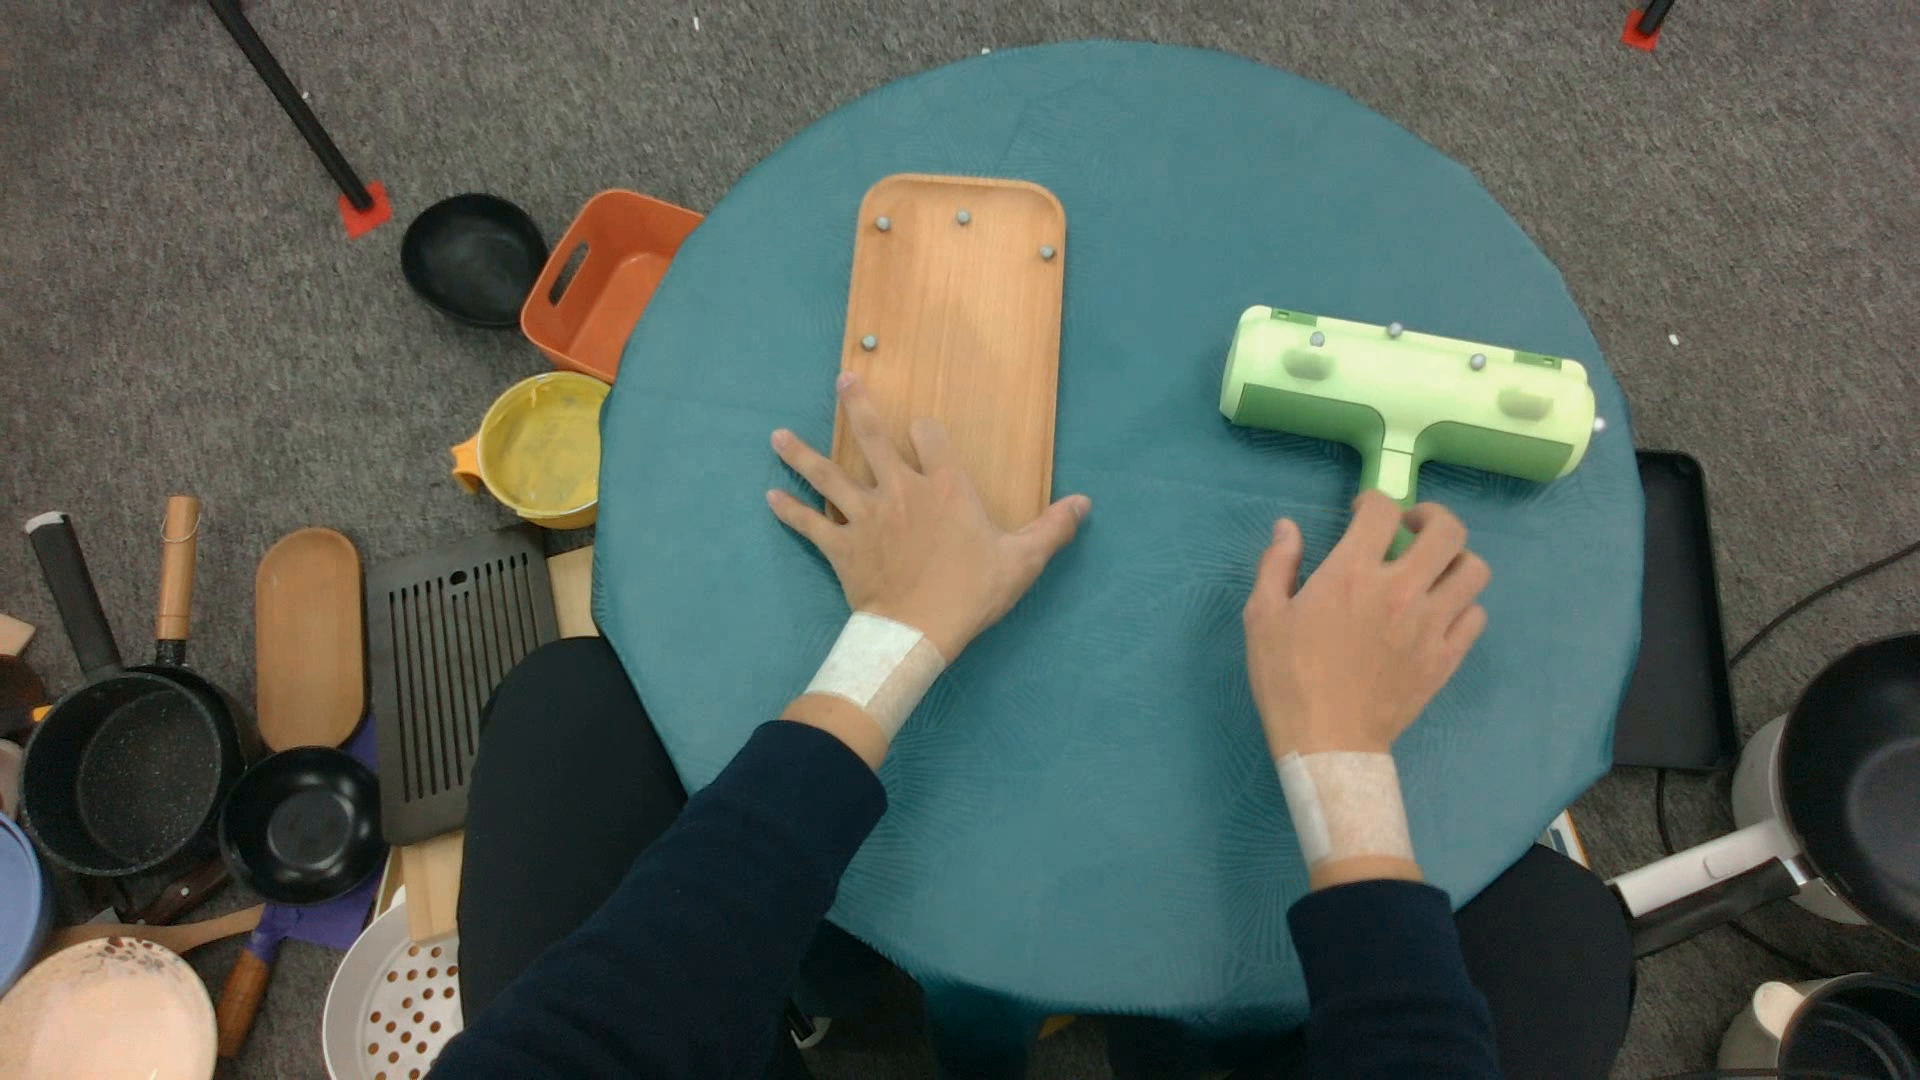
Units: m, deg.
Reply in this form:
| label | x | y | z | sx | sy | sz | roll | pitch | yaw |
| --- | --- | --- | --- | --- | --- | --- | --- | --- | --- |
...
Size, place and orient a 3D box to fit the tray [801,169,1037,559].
| label | x | y | z | sx | sy | sz | roll | pitch | yaw |
| --- | --- | --- | --- | --- | --- | --- | --- | --- | --- |
| tray | -0.020 | -0.107 | 0.806 | 0.130 | 0.023 | 0.251 | 2 | 70 | 2 |

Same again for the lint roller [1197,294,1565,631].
| label | x | y | z | sx | sy | sz | roll | pitch | yaw |
| --- | --- | --- | --- | --- | --- | --- | --- | --- | --- |
| lint roller | 0.226 | -0.047 | 0.748 | 0.198 | 0.082 | 0.184 | 9 | 63 | 4 |
